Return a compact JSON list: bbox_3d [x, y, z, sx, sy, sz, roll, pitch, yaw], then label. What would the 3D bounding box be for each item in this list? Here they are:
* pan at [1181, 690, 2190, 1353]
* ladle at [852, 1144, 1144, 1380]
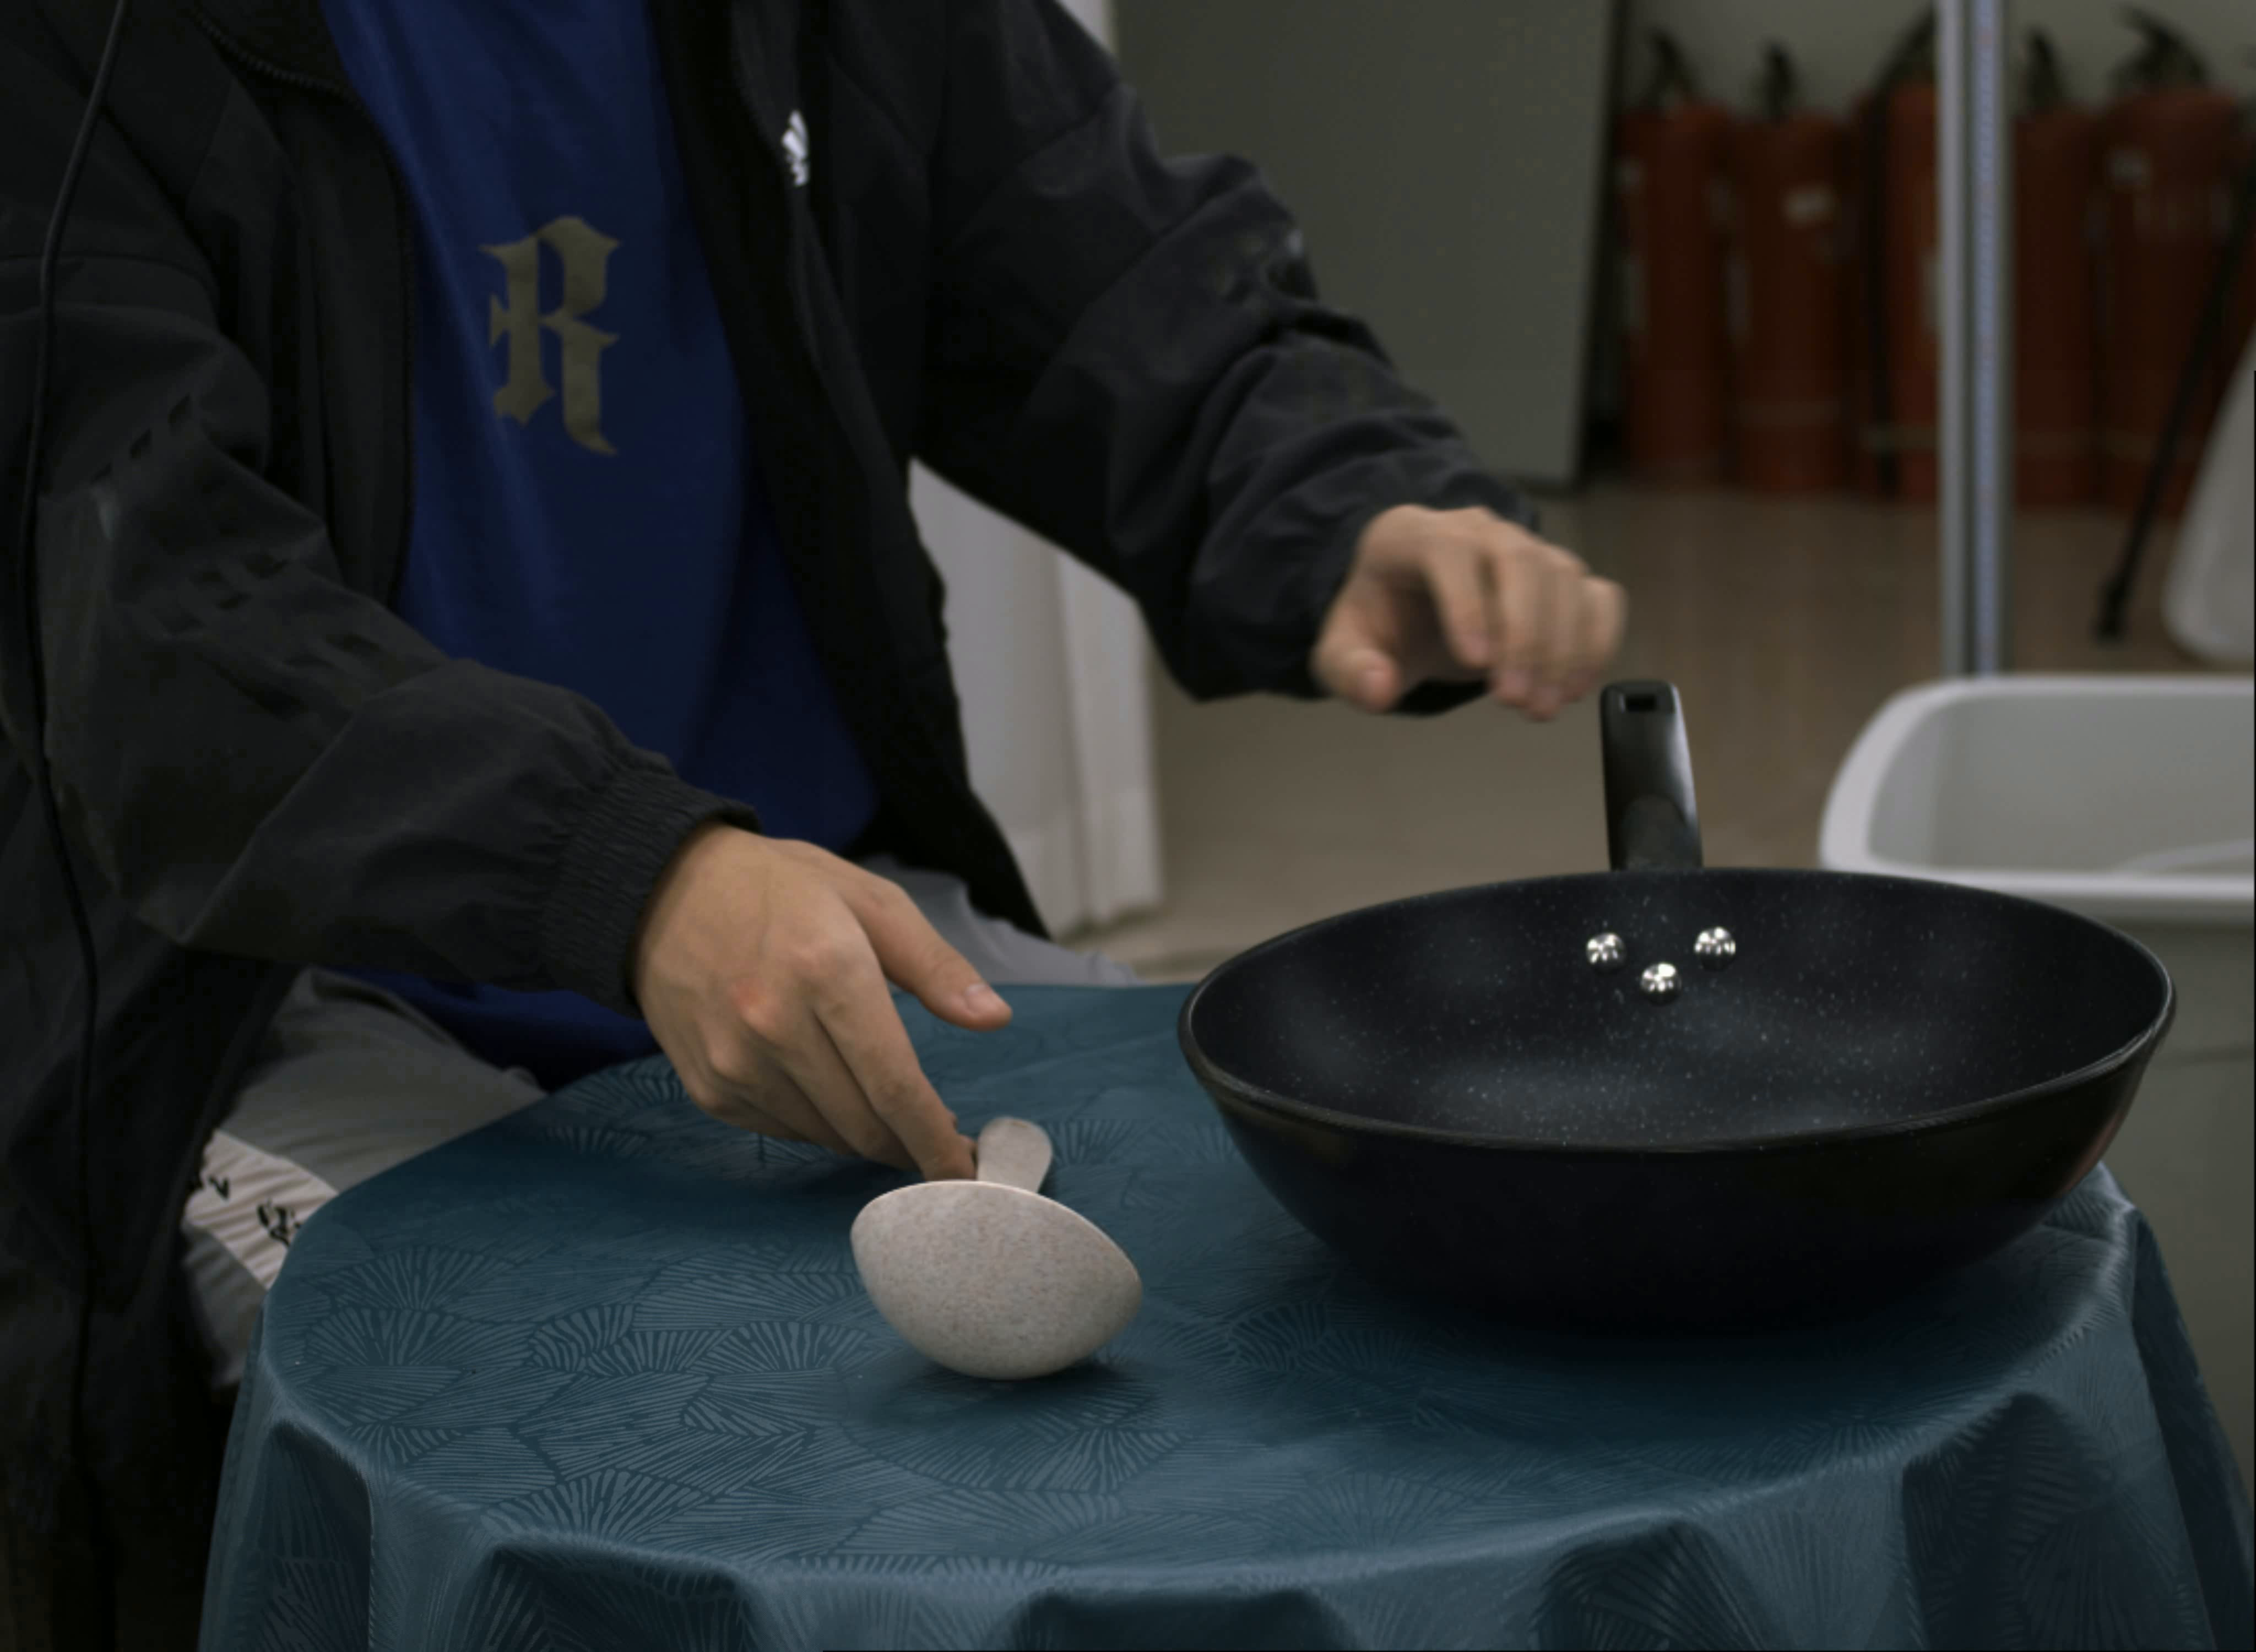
[{"bbox_3d":[0.175,0.063,1.736,0.307,0.113,0.476,-1,14,4],"label":"pan"},{"bbox_3d":[-0.034,0.108,1.698,0.088,0.070,0.274,12,12,0],"label":"ladle"}]
